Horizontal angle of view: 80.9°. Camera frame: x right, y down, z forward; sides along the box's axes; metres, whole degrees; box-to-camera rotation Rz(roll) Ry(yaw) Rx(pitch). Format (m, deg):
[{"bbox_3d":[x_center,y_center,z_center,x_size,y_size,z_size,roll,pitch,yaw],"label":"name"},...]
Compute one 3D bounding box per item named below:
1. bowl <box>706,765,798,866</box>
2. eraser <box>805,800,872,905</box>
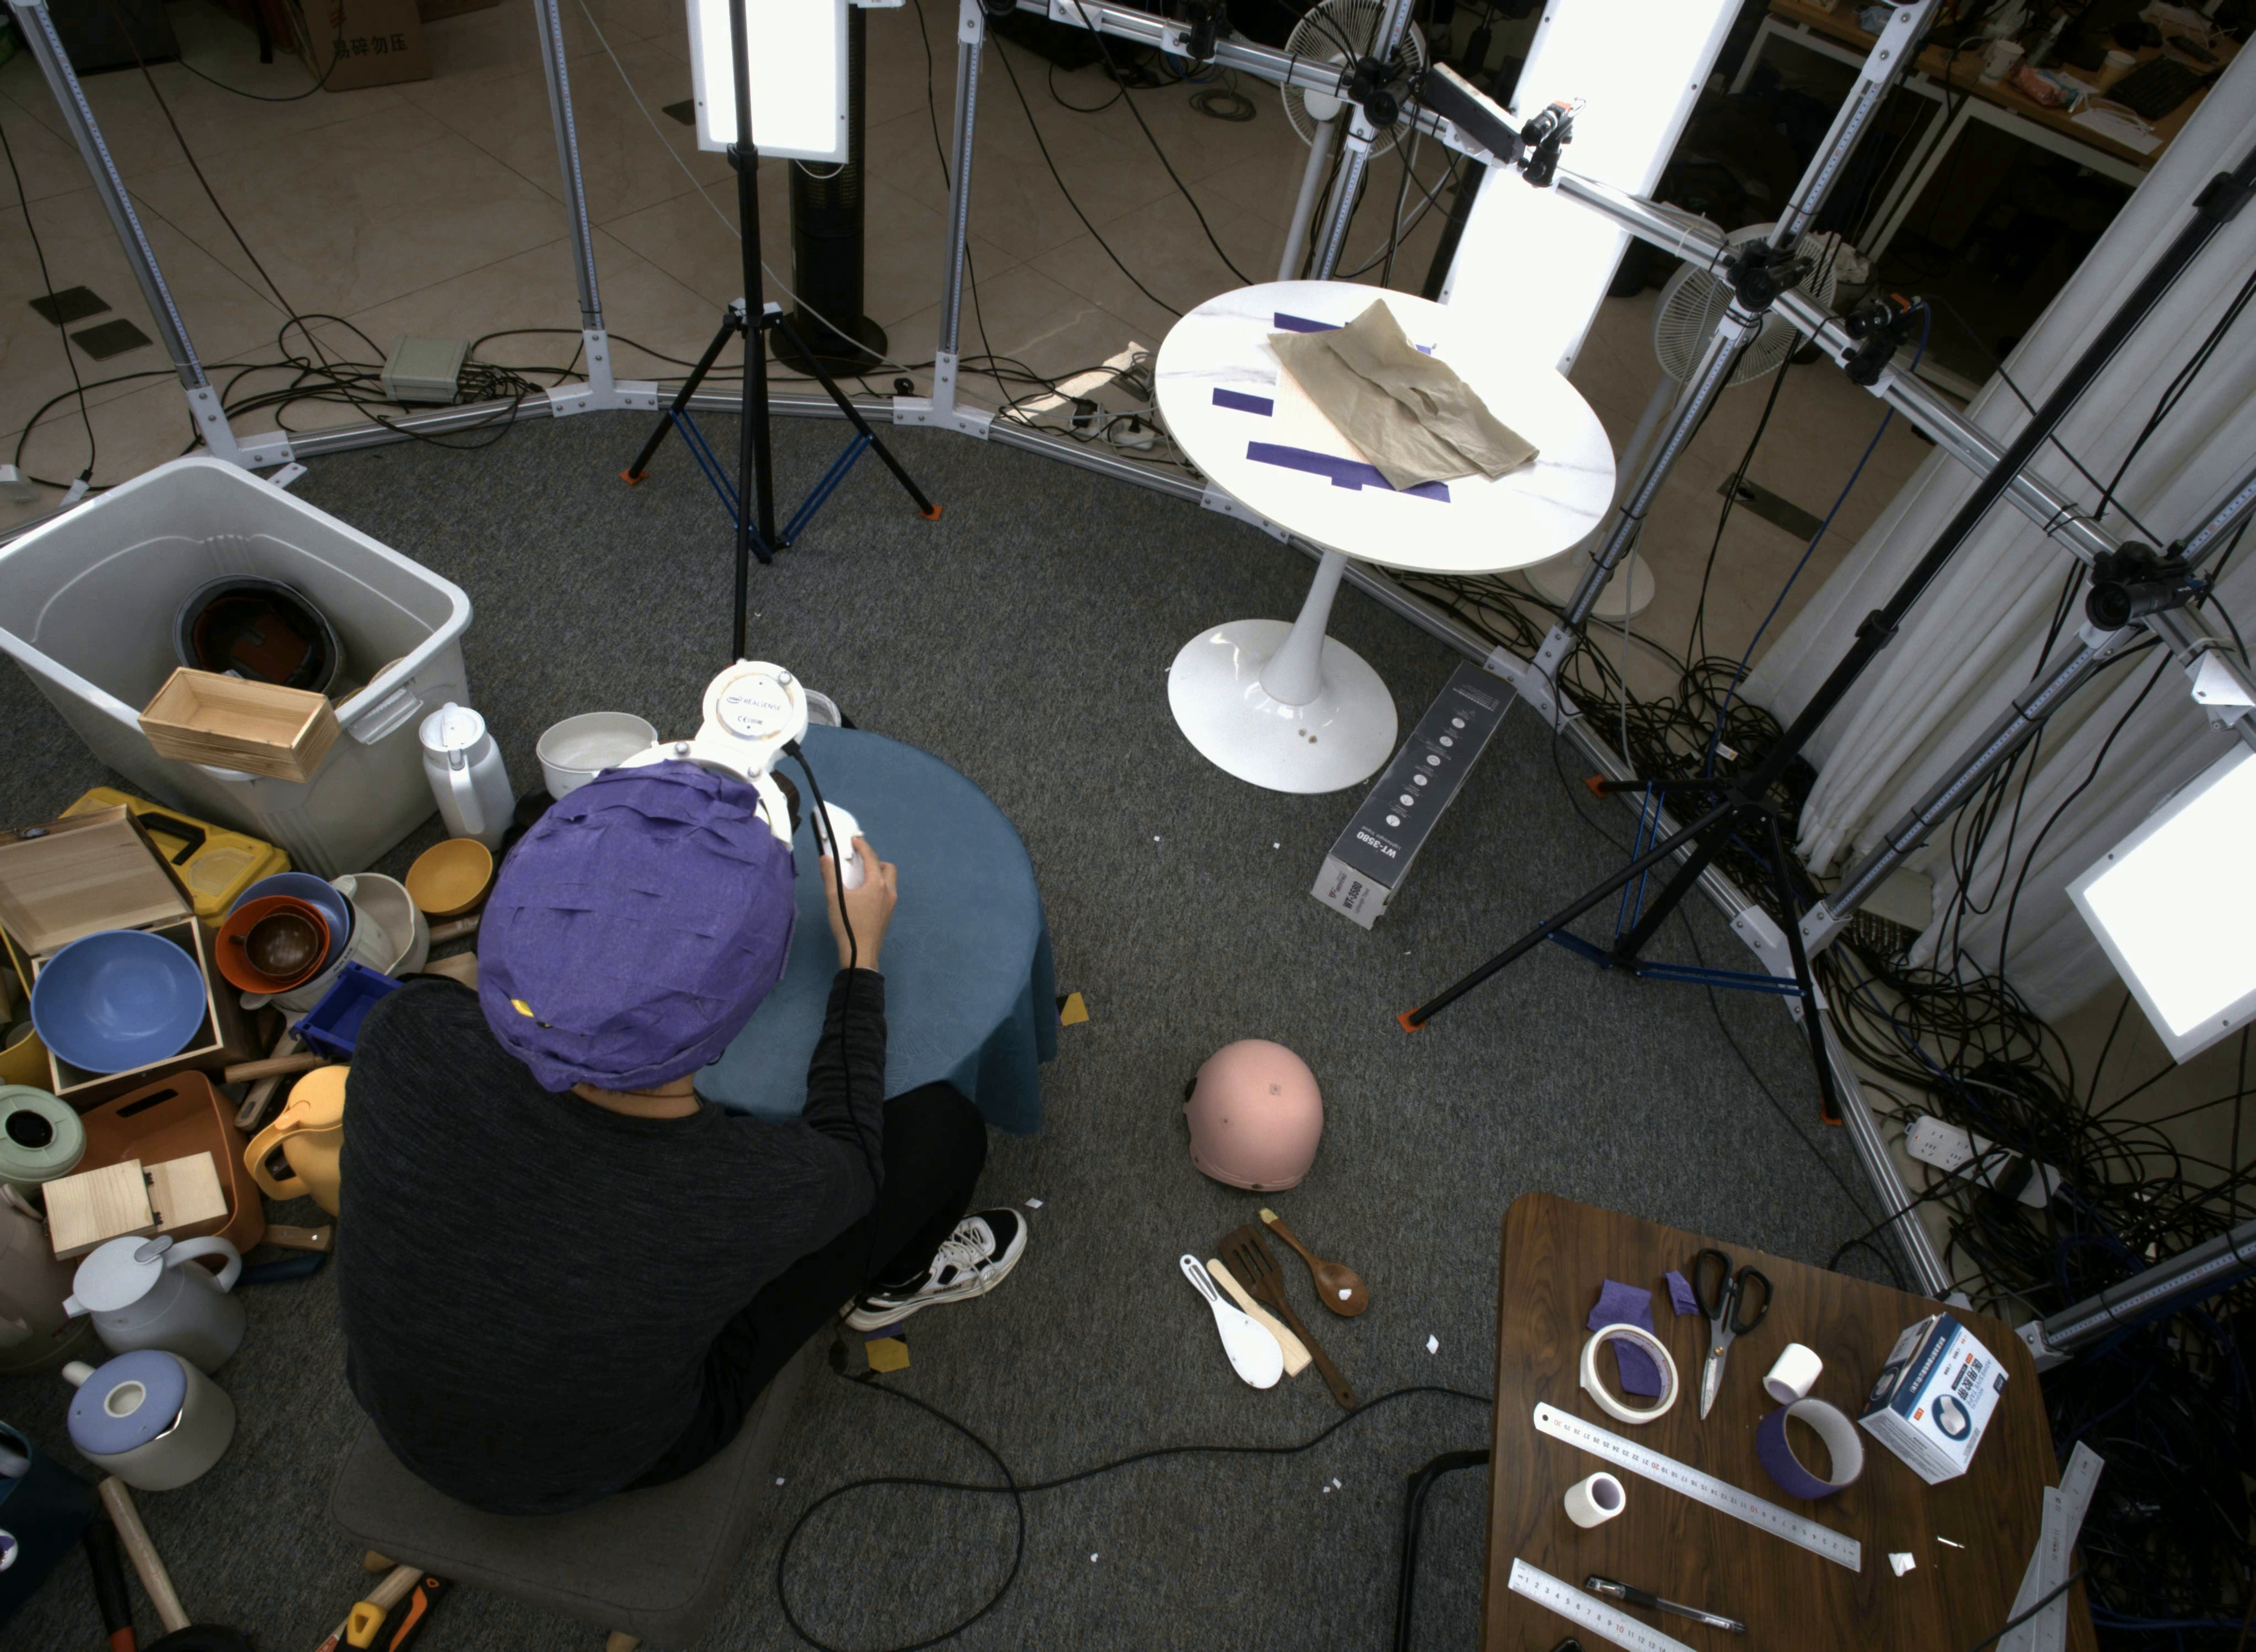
[{"bbox_3d":[-0.431,-0.006,1.513,0.071,0.117,0.117,35,50,-11],"label":"bowl"},{"bbox_3d":[-0.345,0.028,1.546,0.034,0.065,0.128,-32,61,14],"label":"eraser"}]
